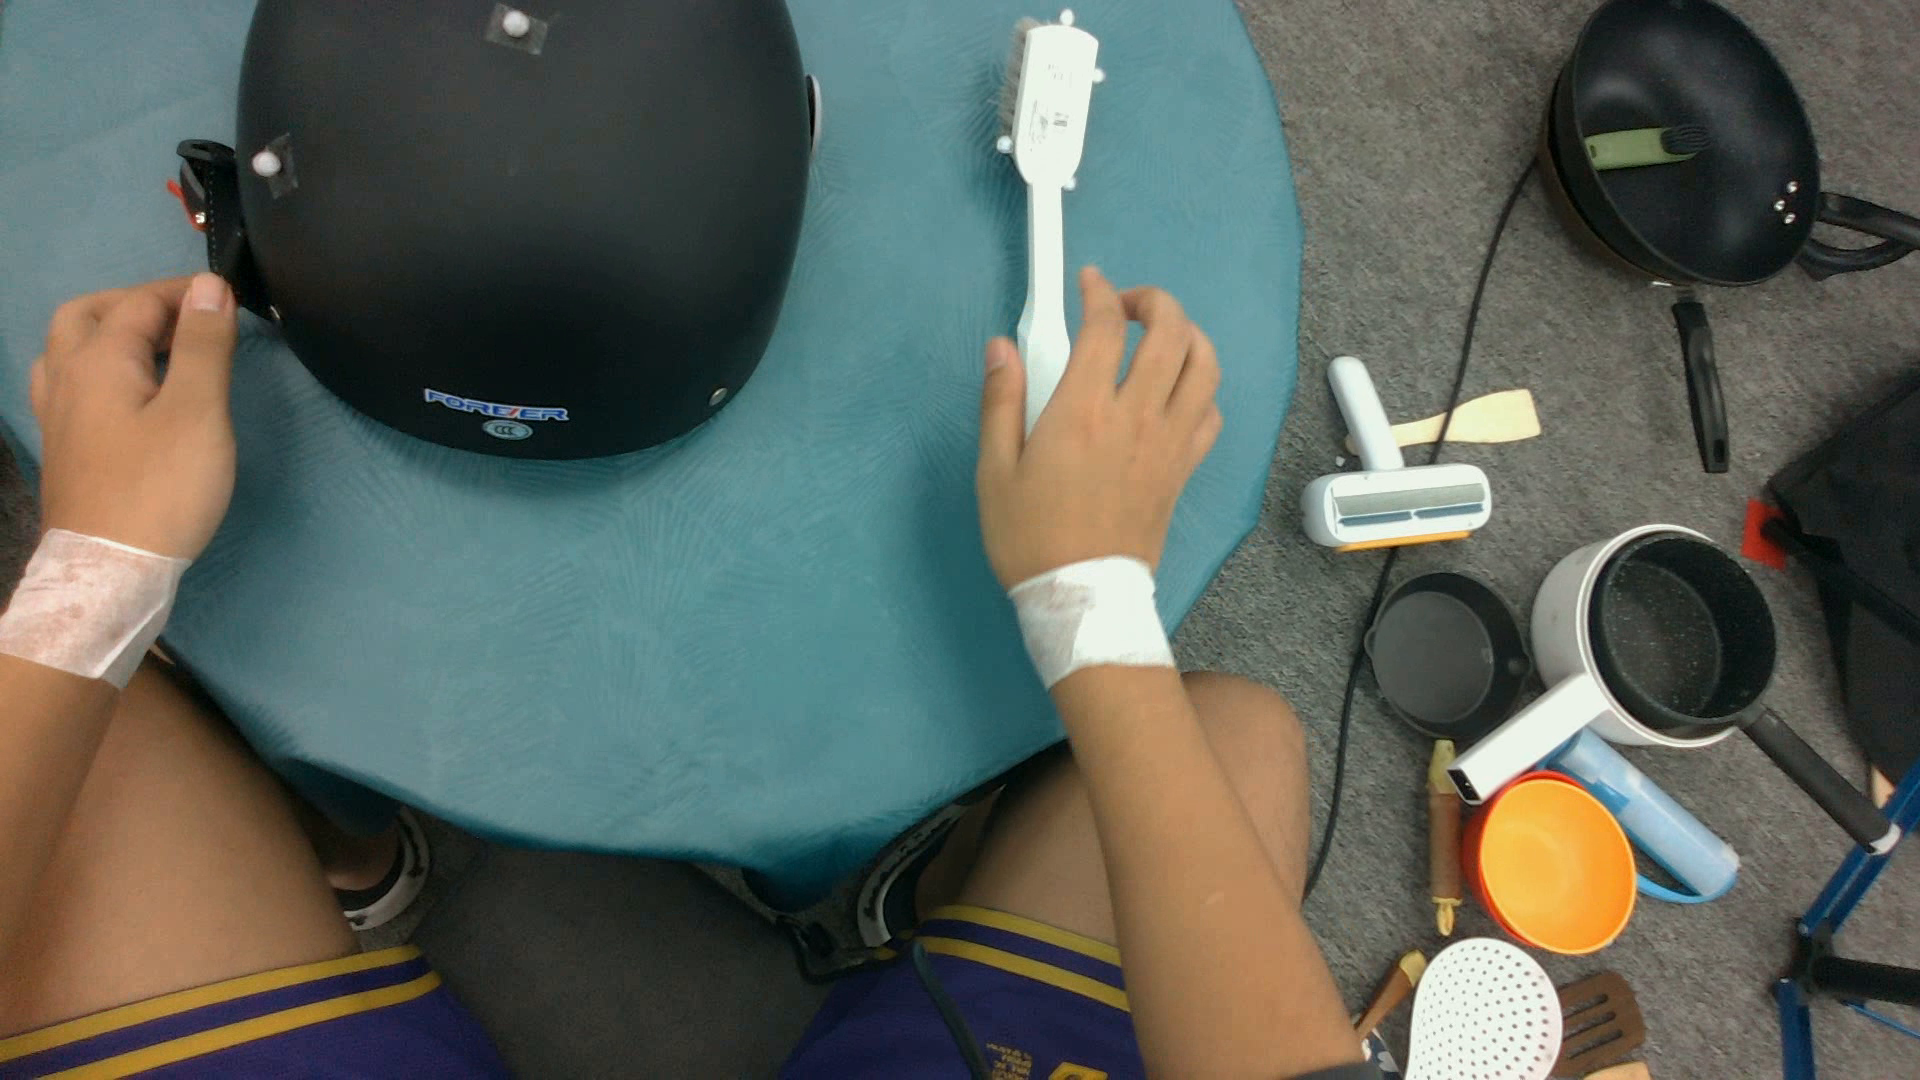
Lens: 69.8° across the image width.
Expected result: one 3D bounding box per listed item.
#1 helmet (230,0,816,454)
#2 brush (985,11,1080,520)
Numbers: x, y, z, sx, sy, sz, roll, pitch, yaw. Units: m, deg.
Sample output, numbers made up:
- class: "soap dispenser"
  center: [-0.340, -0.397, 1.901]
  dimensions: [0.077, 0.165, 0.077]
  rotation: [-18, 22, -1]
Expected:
- class: "helmet"
  center: [-0.170, -0.177, 0.550]
  dimensions: [0.230, 0.166, 0.274]
  rotation: [11, 76, -15]
- class: "brush"
  center: [0.032, -0.132, 0.663]
  dimensions: [0.034, 0.050, 0.243]
  rotation: [0, 93, -18]
